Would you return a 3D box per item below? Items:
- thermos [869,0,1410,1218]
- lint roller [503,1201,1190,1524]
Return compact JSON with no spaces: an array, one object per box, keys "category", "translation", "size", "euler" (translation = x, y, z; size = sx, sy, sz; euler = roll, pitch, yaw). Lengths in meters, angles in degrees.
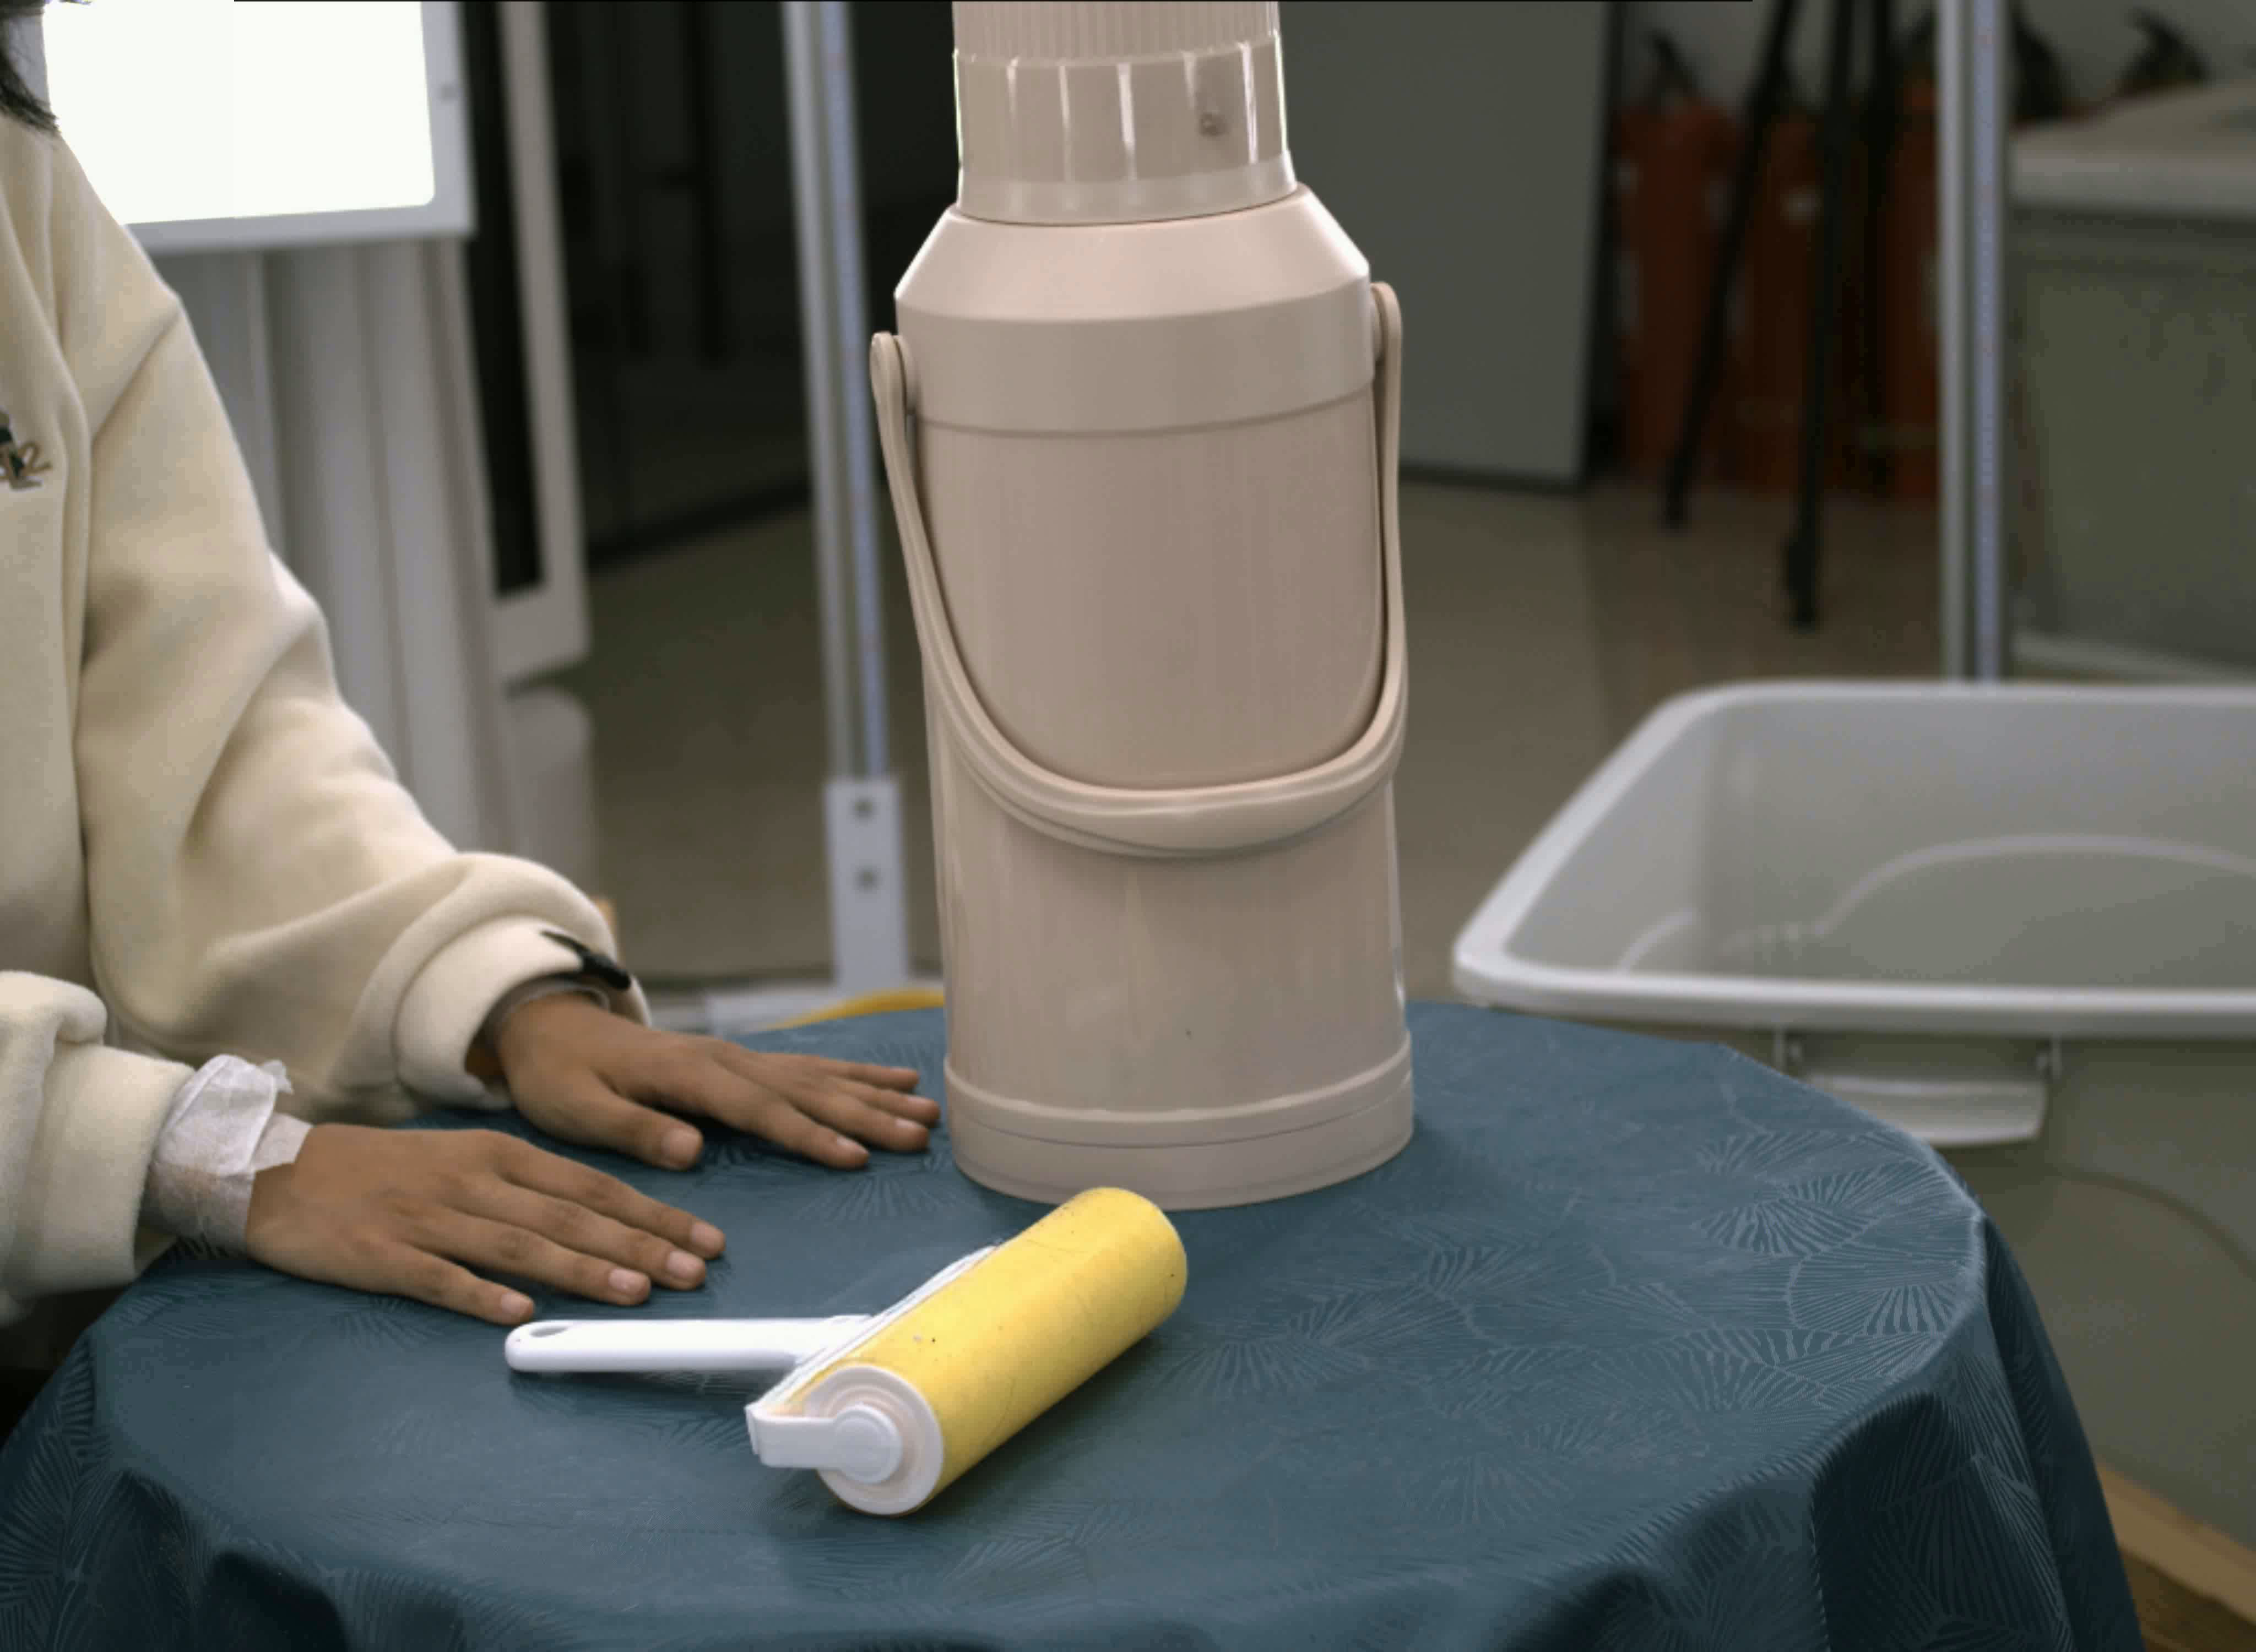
[{"category":"thermos","translation":[0.004,-0.089,1.788],"size":[0.172,0.411,0.208],"euler":[-7,13,-13]},{"category":"lint roller","translation":[-0.100,0.144,1.592],"size":[0.192,0.052,0.172],"euler":[10,18,24]}]
